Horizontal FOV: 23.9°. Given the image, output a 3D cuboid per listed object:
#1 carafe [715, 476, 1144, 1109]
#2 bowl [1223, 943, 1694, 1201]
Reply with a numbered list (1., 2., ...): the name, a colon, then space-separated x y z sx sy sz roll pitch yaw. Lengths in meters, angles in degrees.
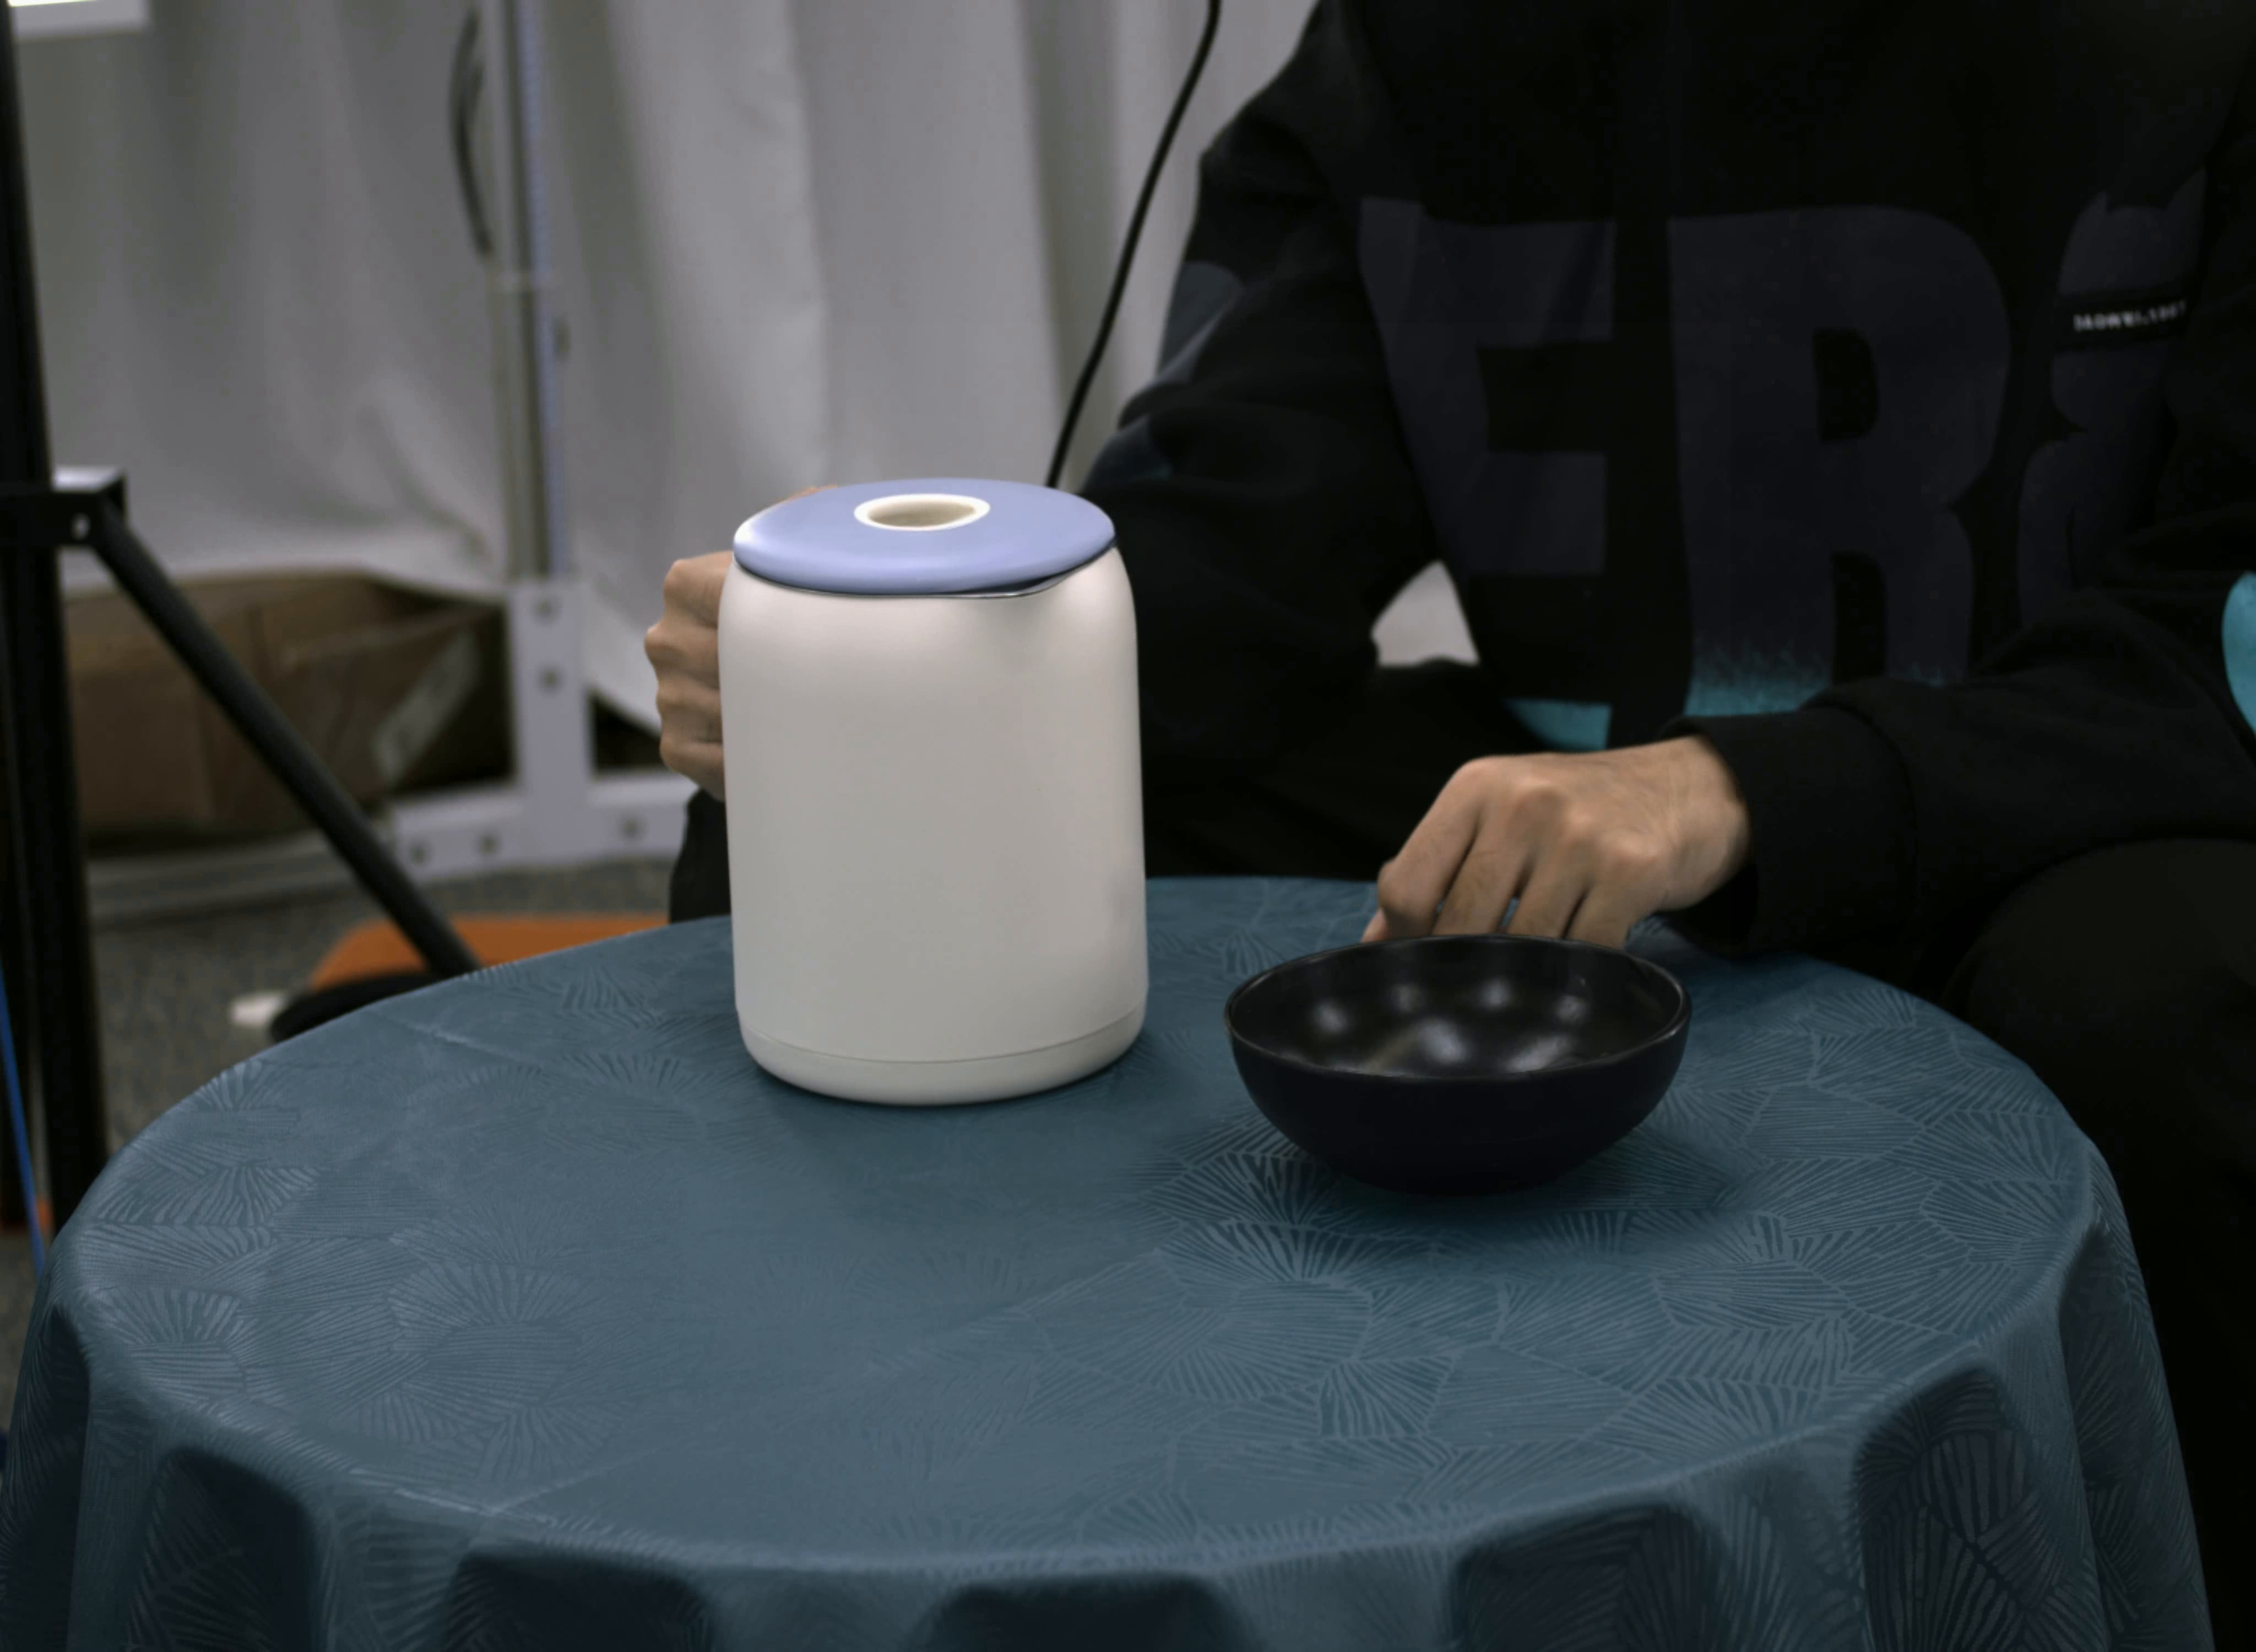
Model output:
1. carafe: -0.074 -0.017 1.693 0.129 0.182 0.195 -10 16 -28
2. bowl: 0.098 0.077 1.563 0.139 0.050 0.140 -3 14 -1
